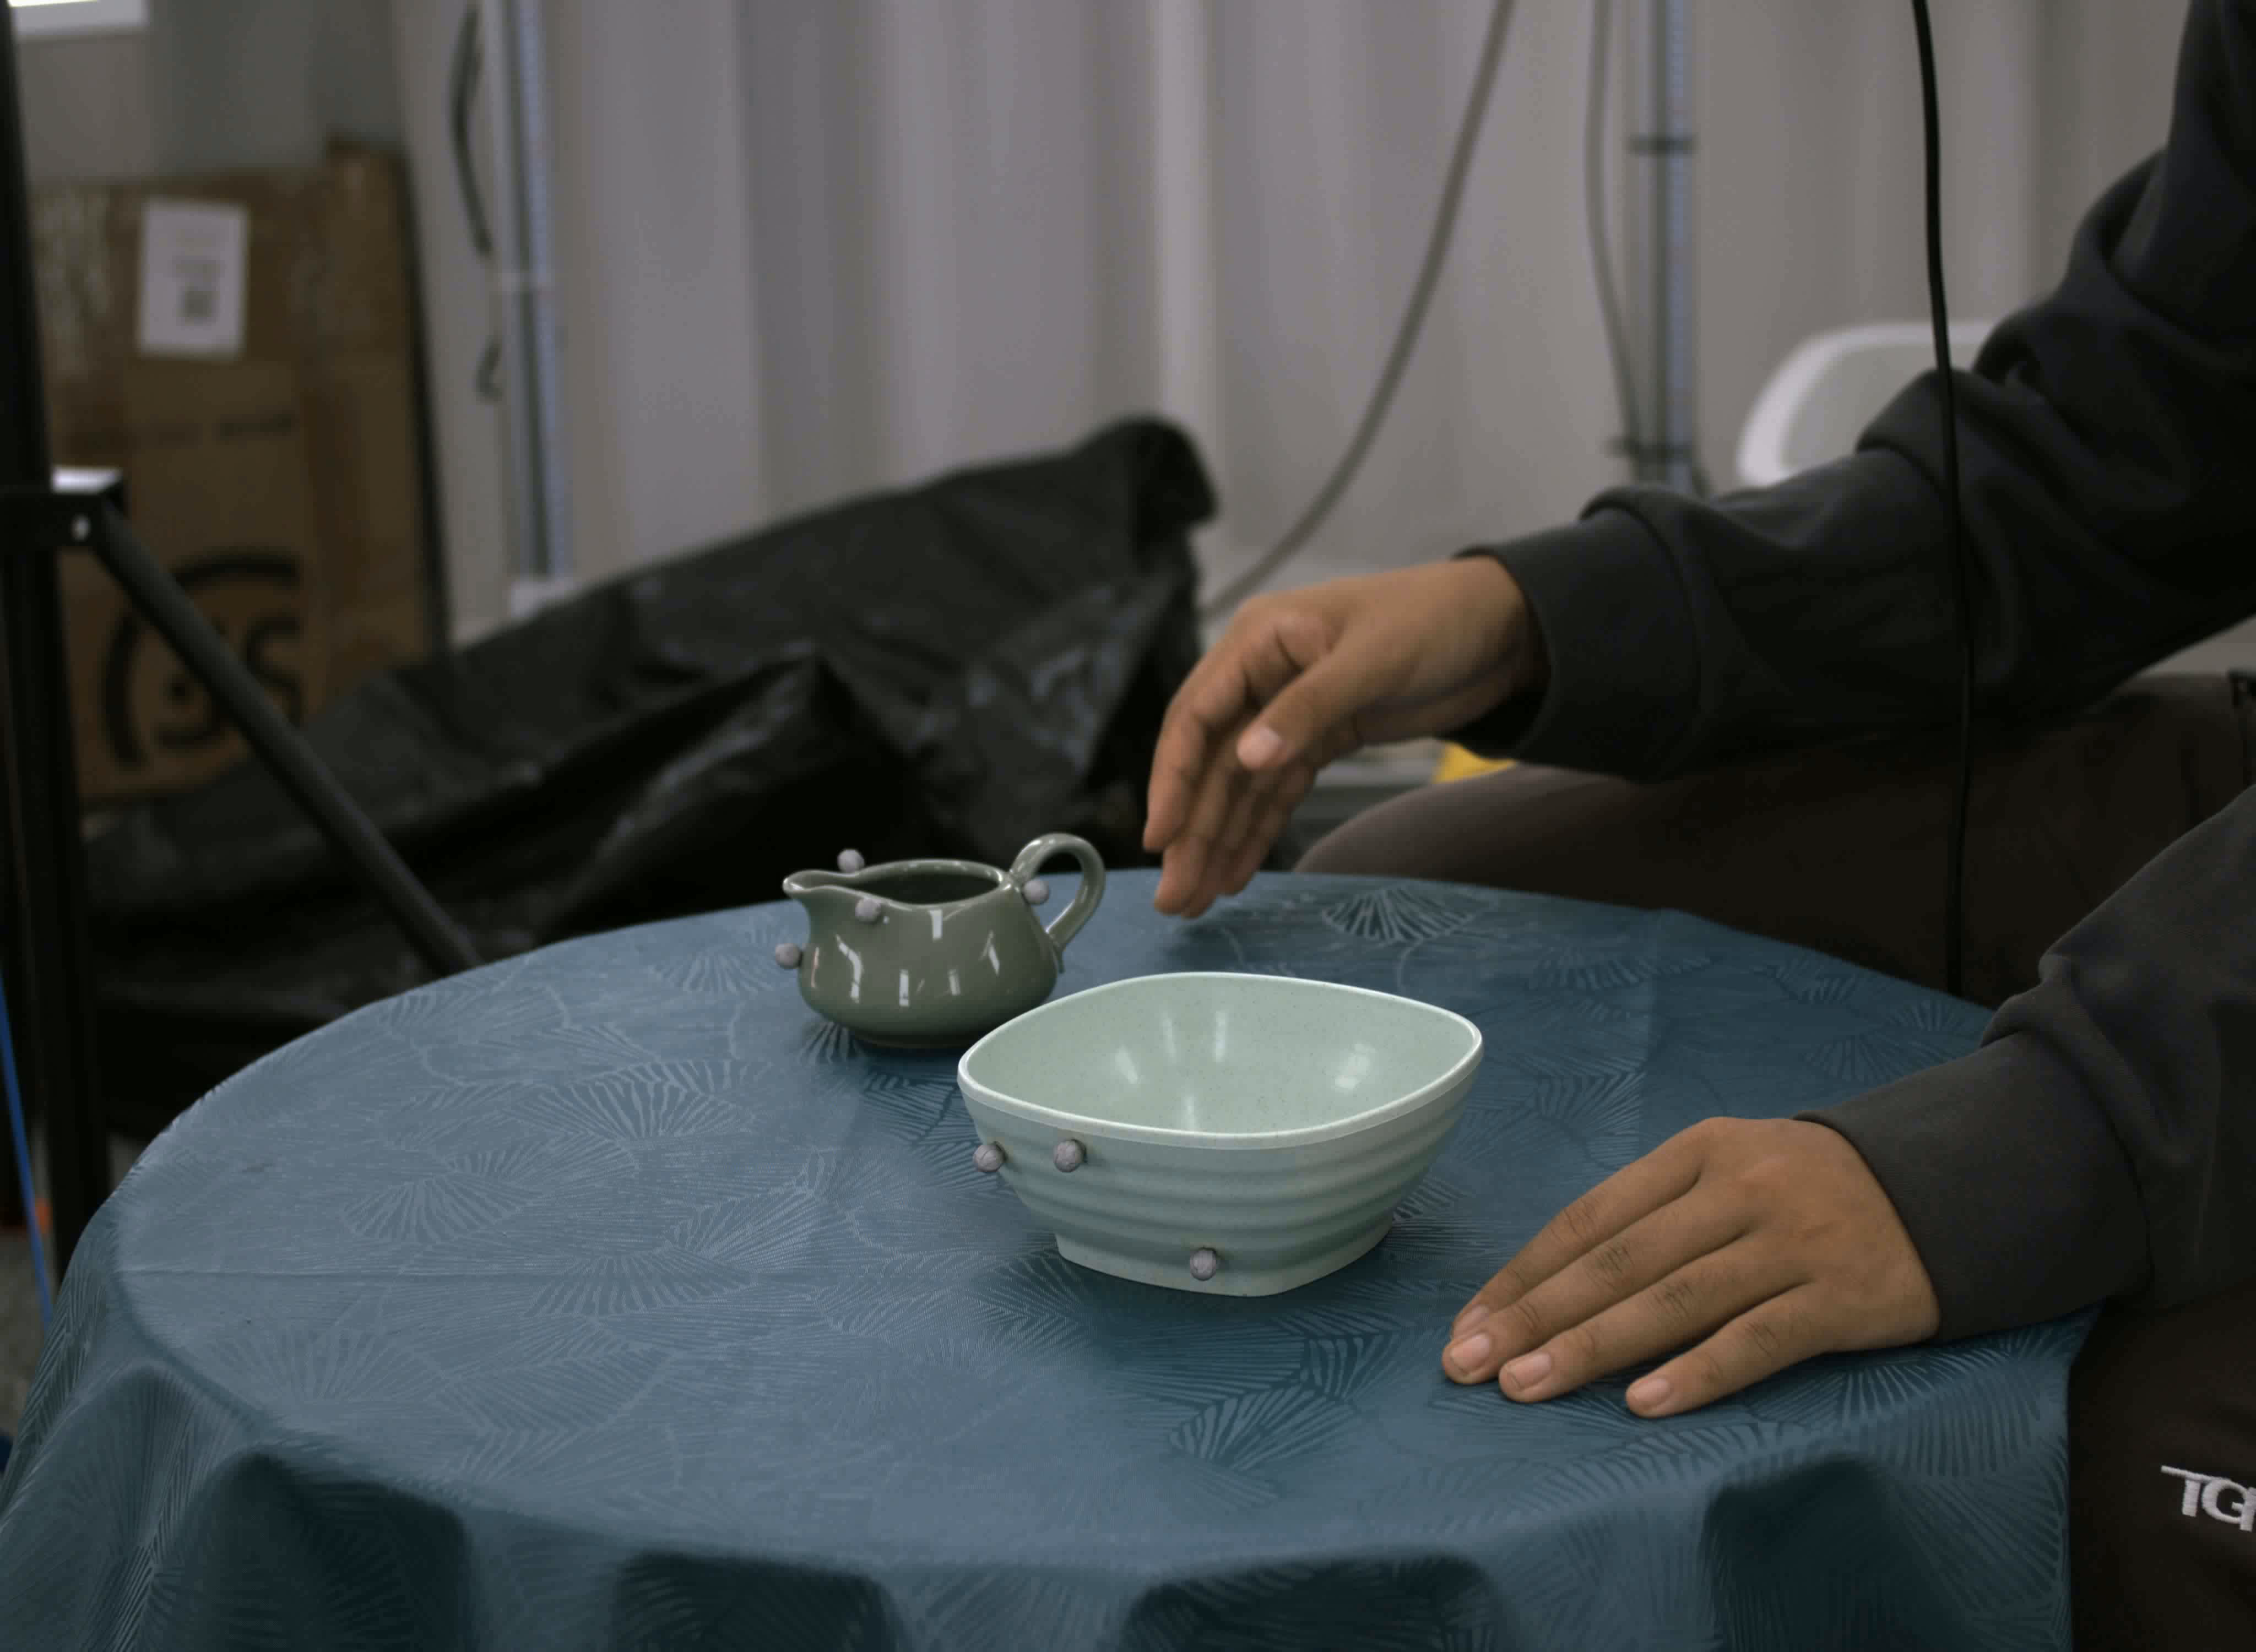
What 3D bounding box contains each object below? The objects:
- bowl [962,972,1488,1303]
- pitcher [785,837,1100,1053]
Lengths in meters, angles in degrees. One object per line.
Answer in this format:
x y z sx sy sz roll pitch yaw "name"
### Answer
0.029 0.092 1.509 0.151 0.058 0.152 -4 17 0 "bowl"
-0.059 0.037 1.716 0.110 0.056 0.086 -9 18 -27 "pitcher"
